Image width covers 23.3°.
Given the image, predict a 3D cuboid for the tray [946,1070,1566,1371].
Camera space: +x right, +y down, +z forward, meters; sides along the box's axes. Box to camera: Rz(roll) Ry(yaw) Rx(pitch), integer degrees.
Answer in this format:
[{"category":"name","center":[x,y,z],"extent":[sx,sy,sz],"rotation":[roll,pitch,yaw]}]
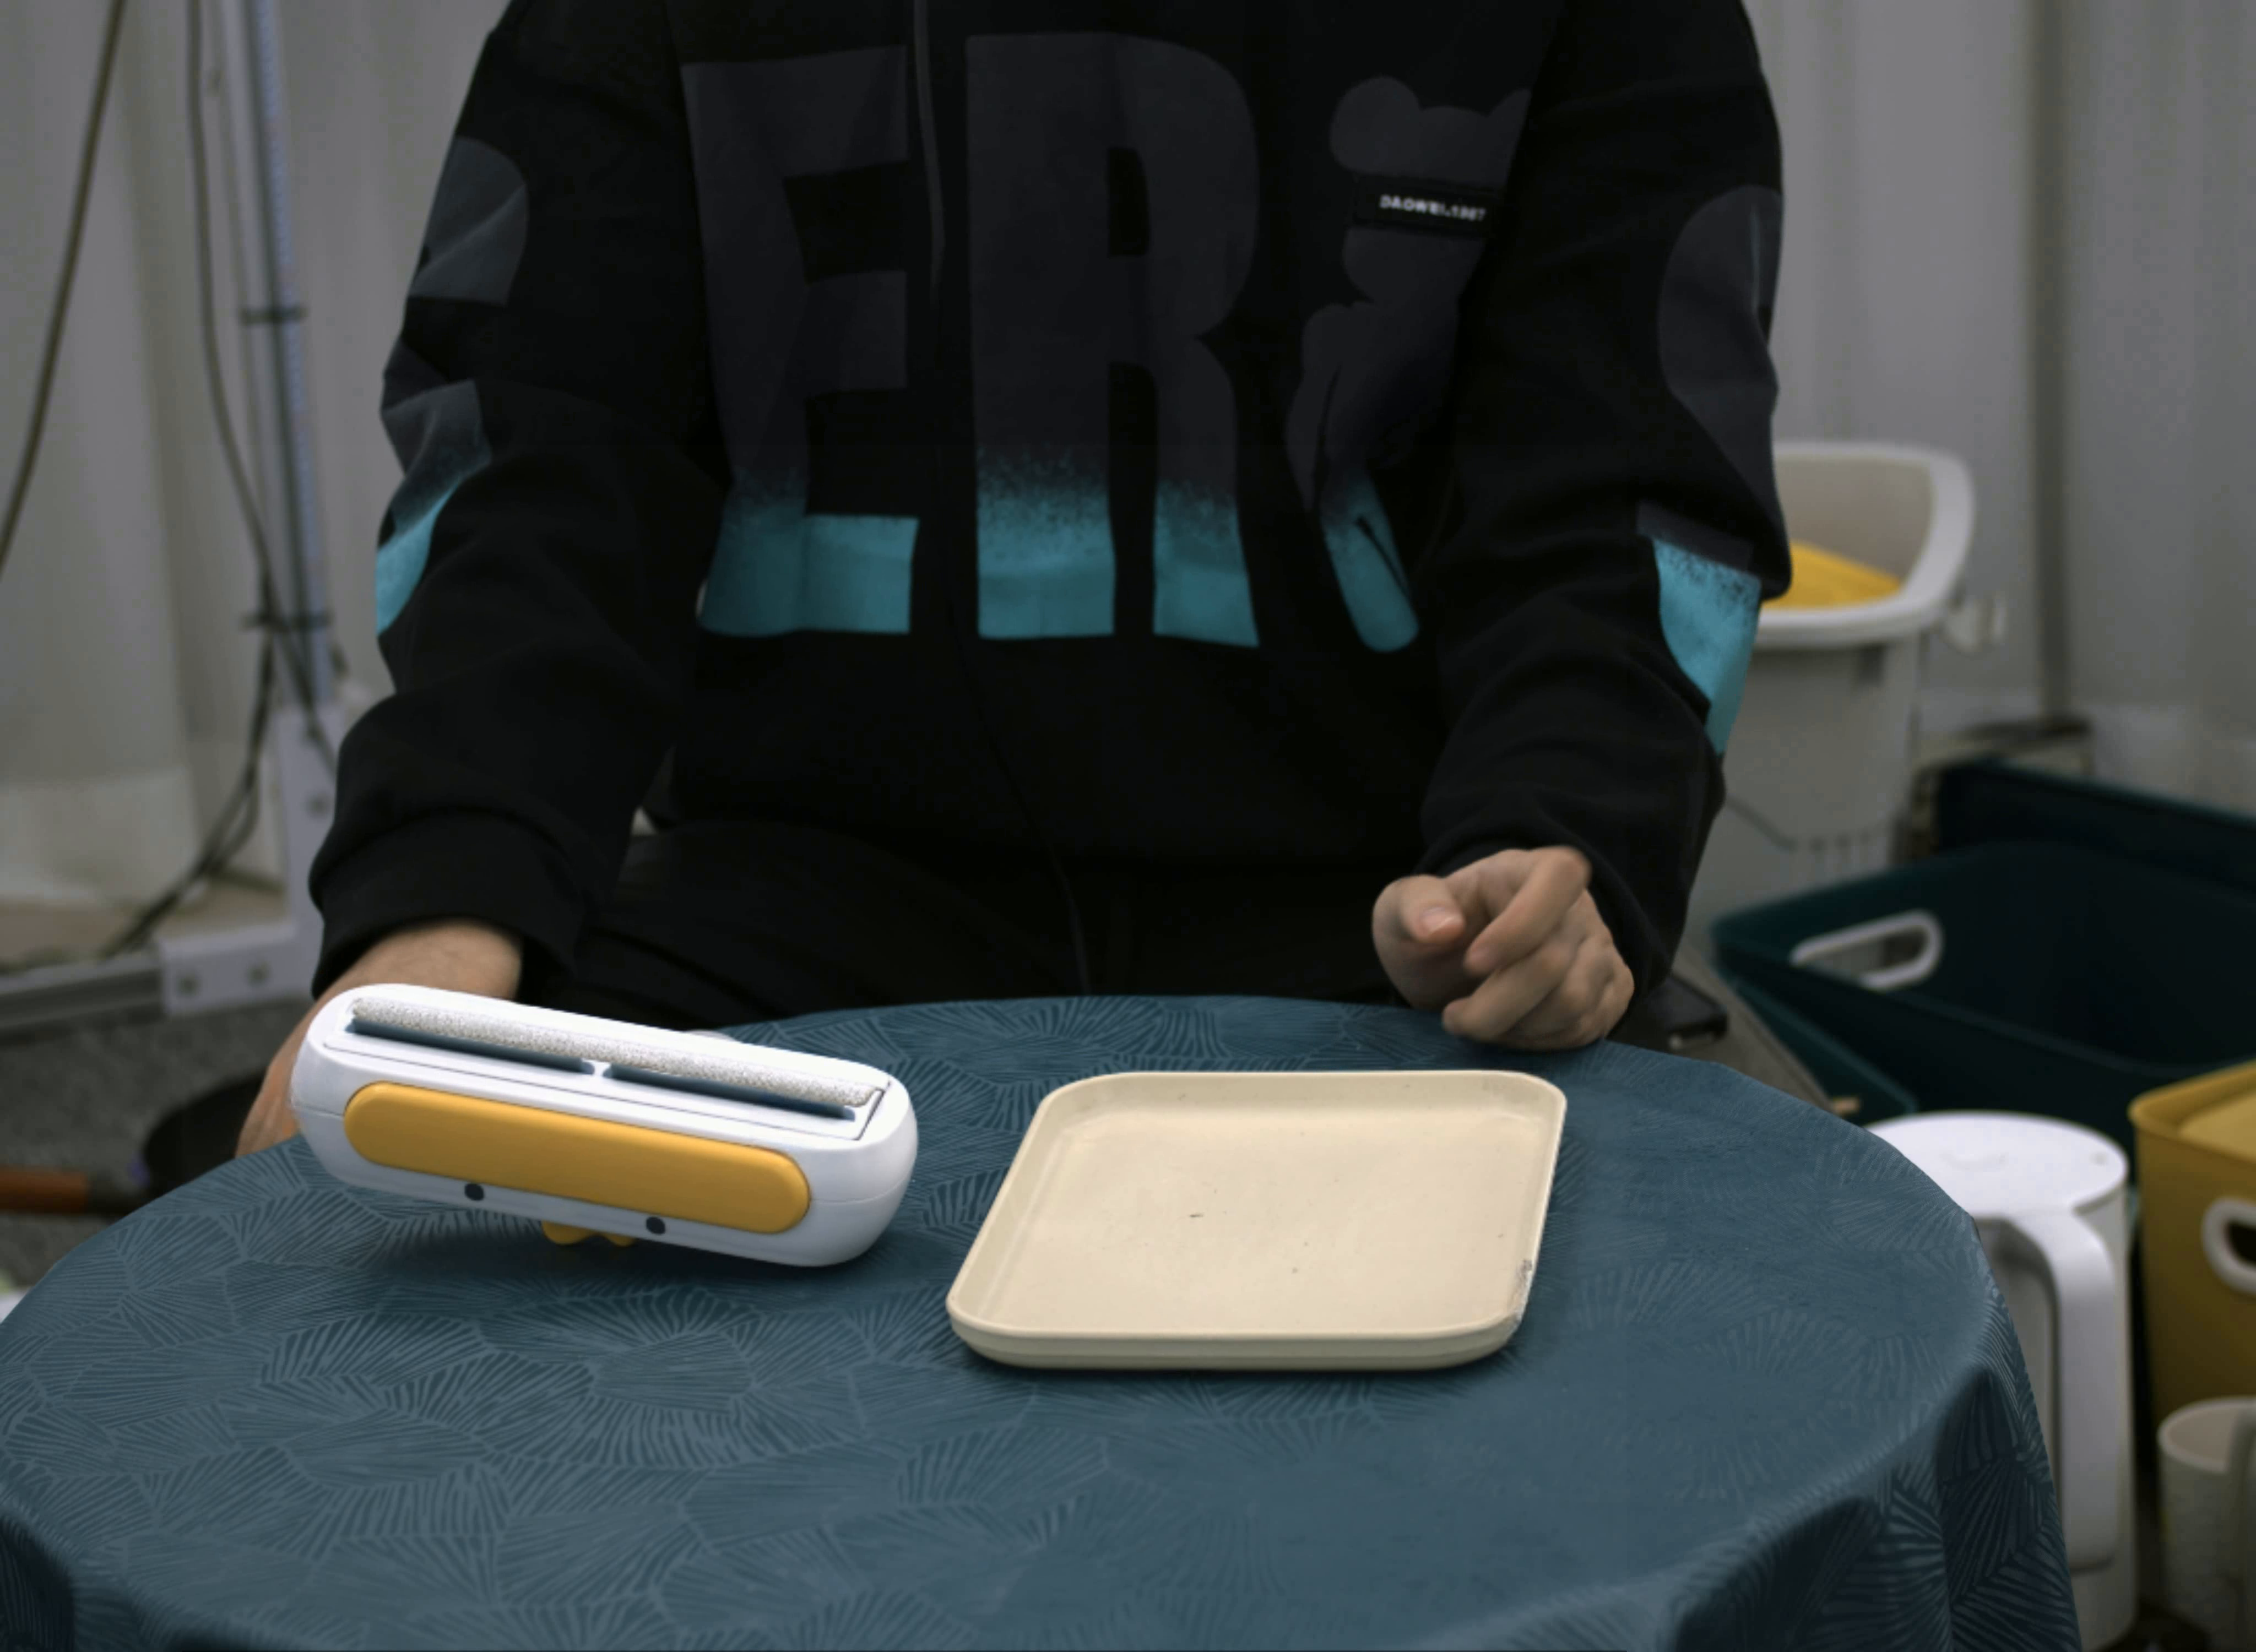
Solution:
[{"category":"tray","center":[0.043,0.119,1.656],"extent":[0.171,0.017,0.241],"rotation":[-1,15,9]}]

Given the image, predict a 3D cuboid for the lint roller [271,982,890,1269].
[{"category":"lint roller","center":[-0.154,0.084,1.732],"extent":[0.193,0.074,0.193],"rotation":[6,15,13]}]
